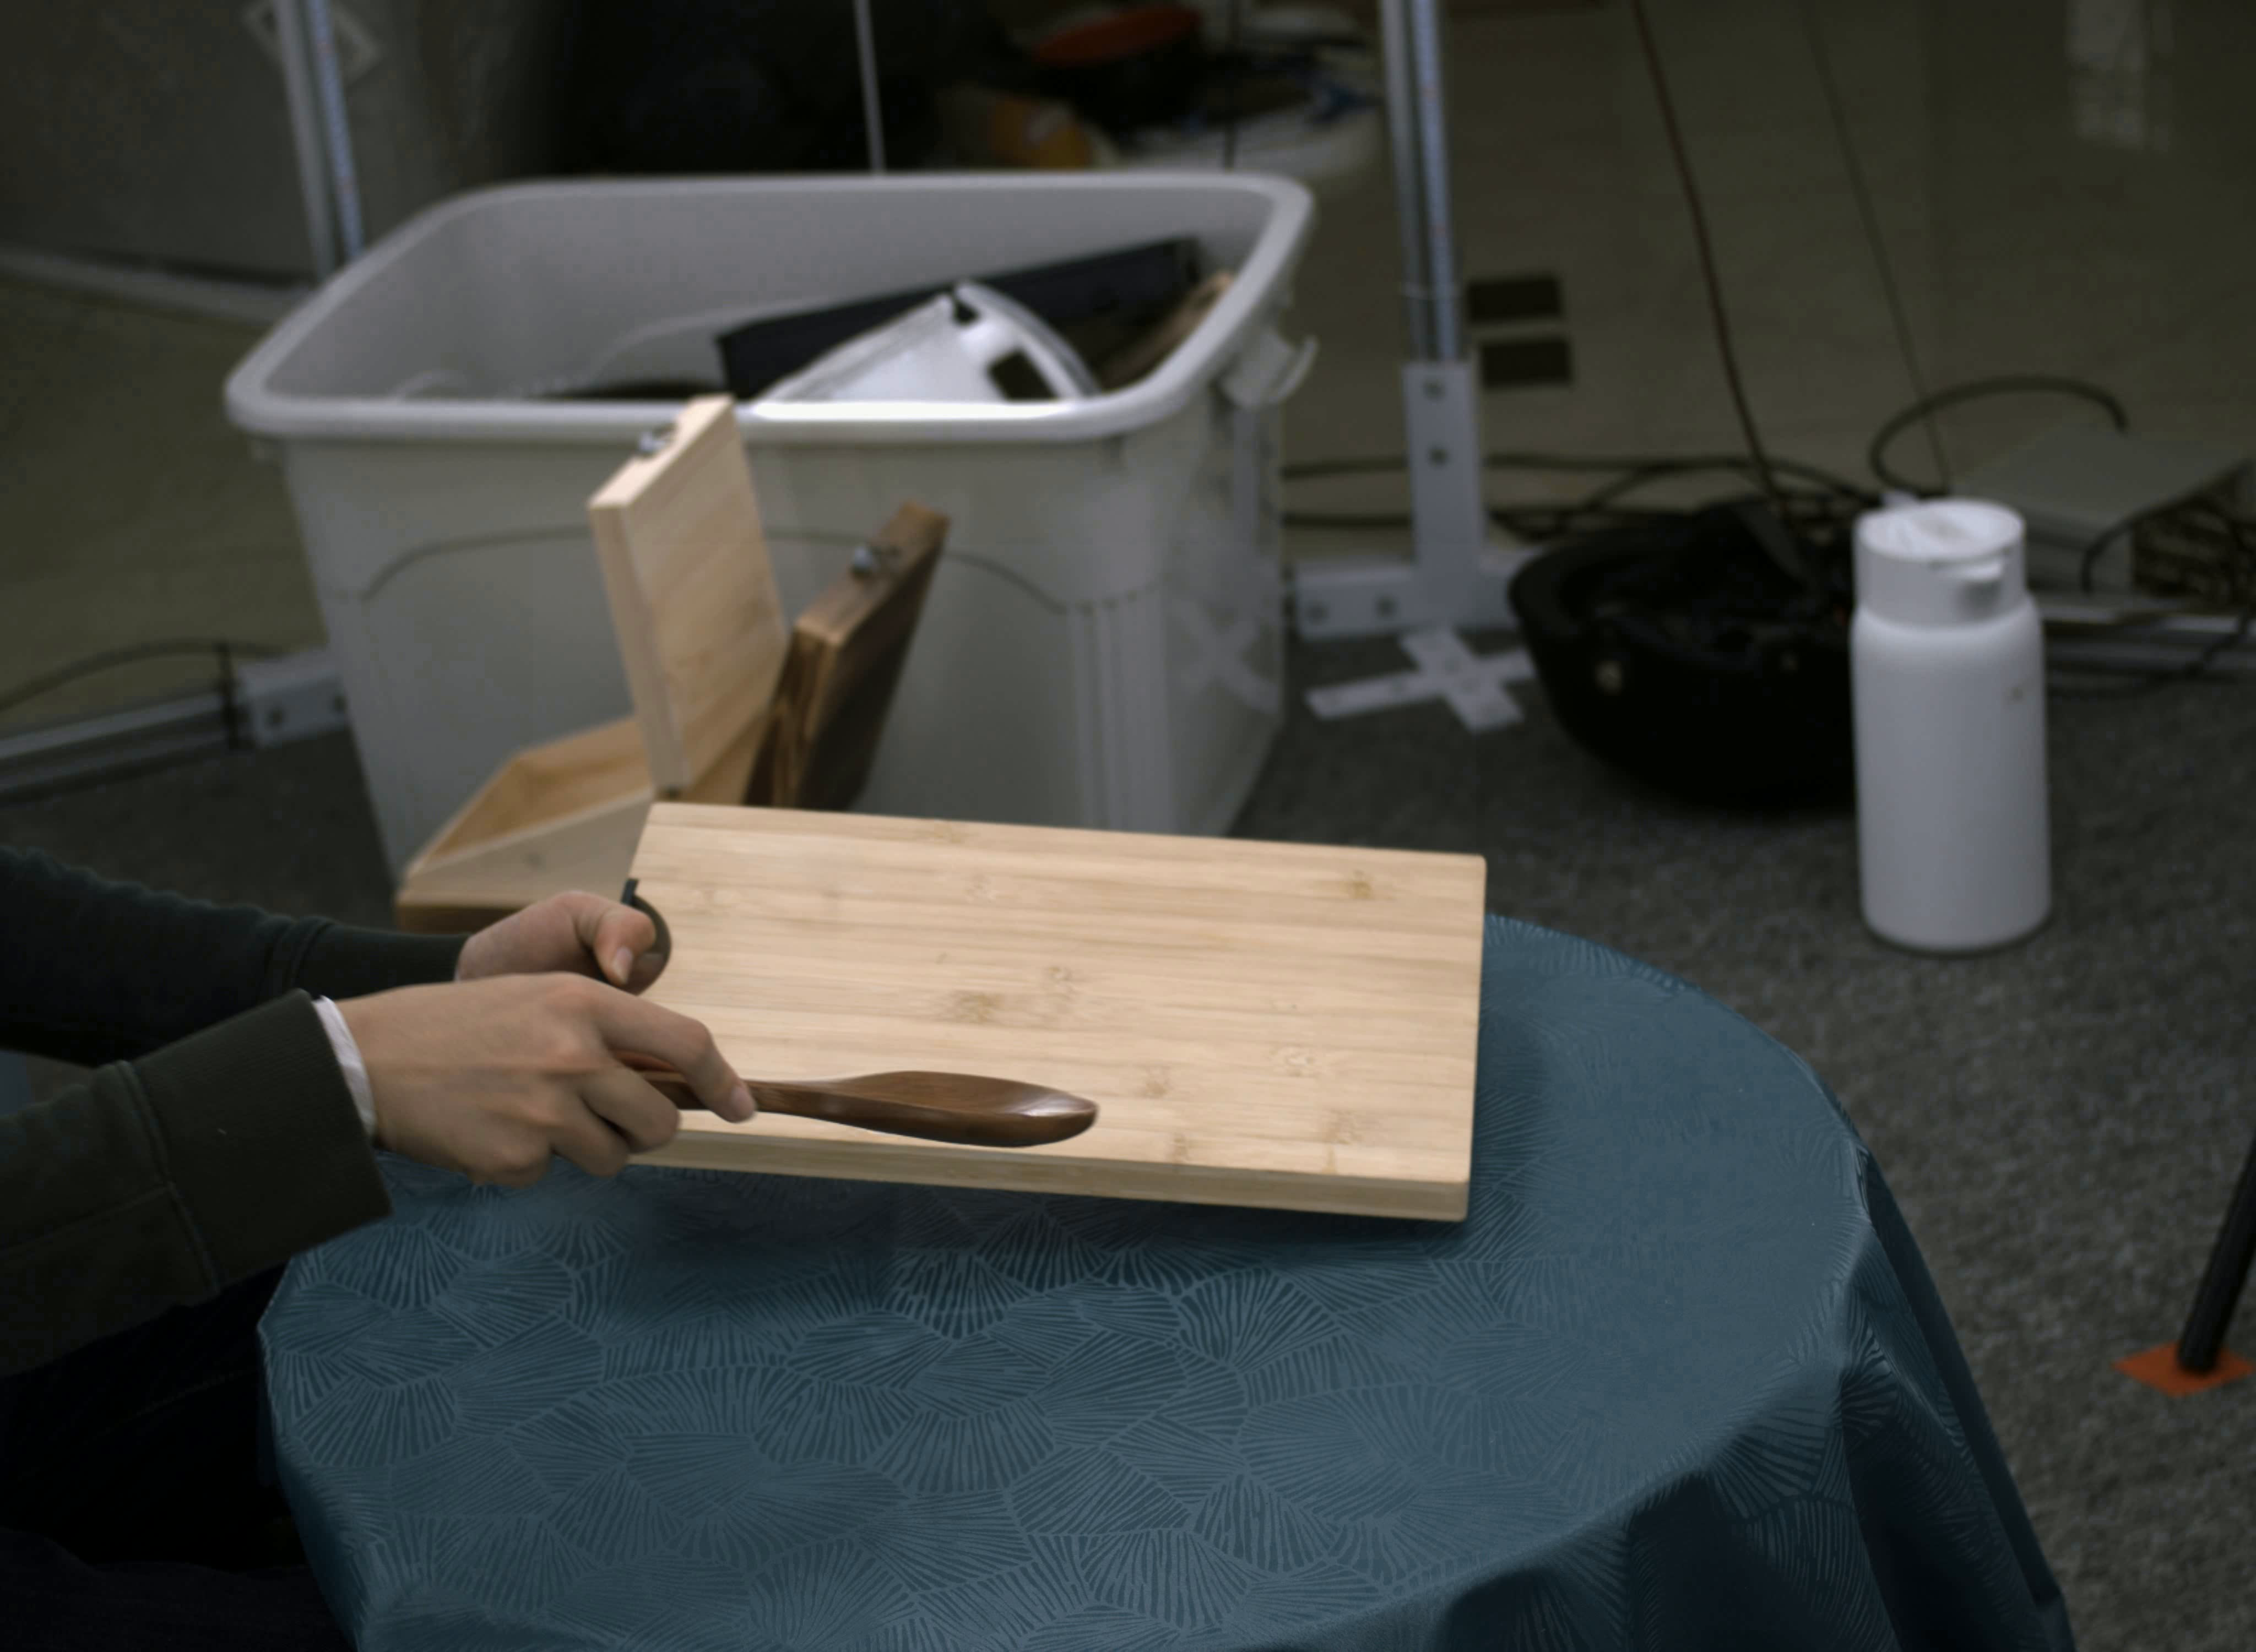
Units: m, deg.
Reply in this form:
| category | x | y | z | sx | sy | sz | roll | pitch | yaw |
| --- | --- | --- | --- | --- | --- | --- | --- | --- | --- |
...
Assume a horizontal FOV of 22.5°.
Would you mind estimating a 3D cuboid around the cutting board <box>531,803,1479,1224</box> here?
| category | x | y | z | sx | sy | sz | roll | pitch | yaw |
| --- | --- | --- | --- | --- | --- | --- | --- | --- | --- |
| cutting board | -0.040 | 0.069 | 2.191 | 0.348 | 0.024 | 0.246 | 4 | 30 | 2 |

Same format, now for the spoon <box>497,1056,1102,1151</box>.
| category | x | y | z | sx | sy | sz | roll | pitch | yaw |
| --- | --- | --- | --- | --- | --- | --- | --- | --- | --- |
| spoon | -0.109 | 0.093 | 1.913 | 0.216 | 0.017 | 0.075 | 6 | 11 | -26 |
